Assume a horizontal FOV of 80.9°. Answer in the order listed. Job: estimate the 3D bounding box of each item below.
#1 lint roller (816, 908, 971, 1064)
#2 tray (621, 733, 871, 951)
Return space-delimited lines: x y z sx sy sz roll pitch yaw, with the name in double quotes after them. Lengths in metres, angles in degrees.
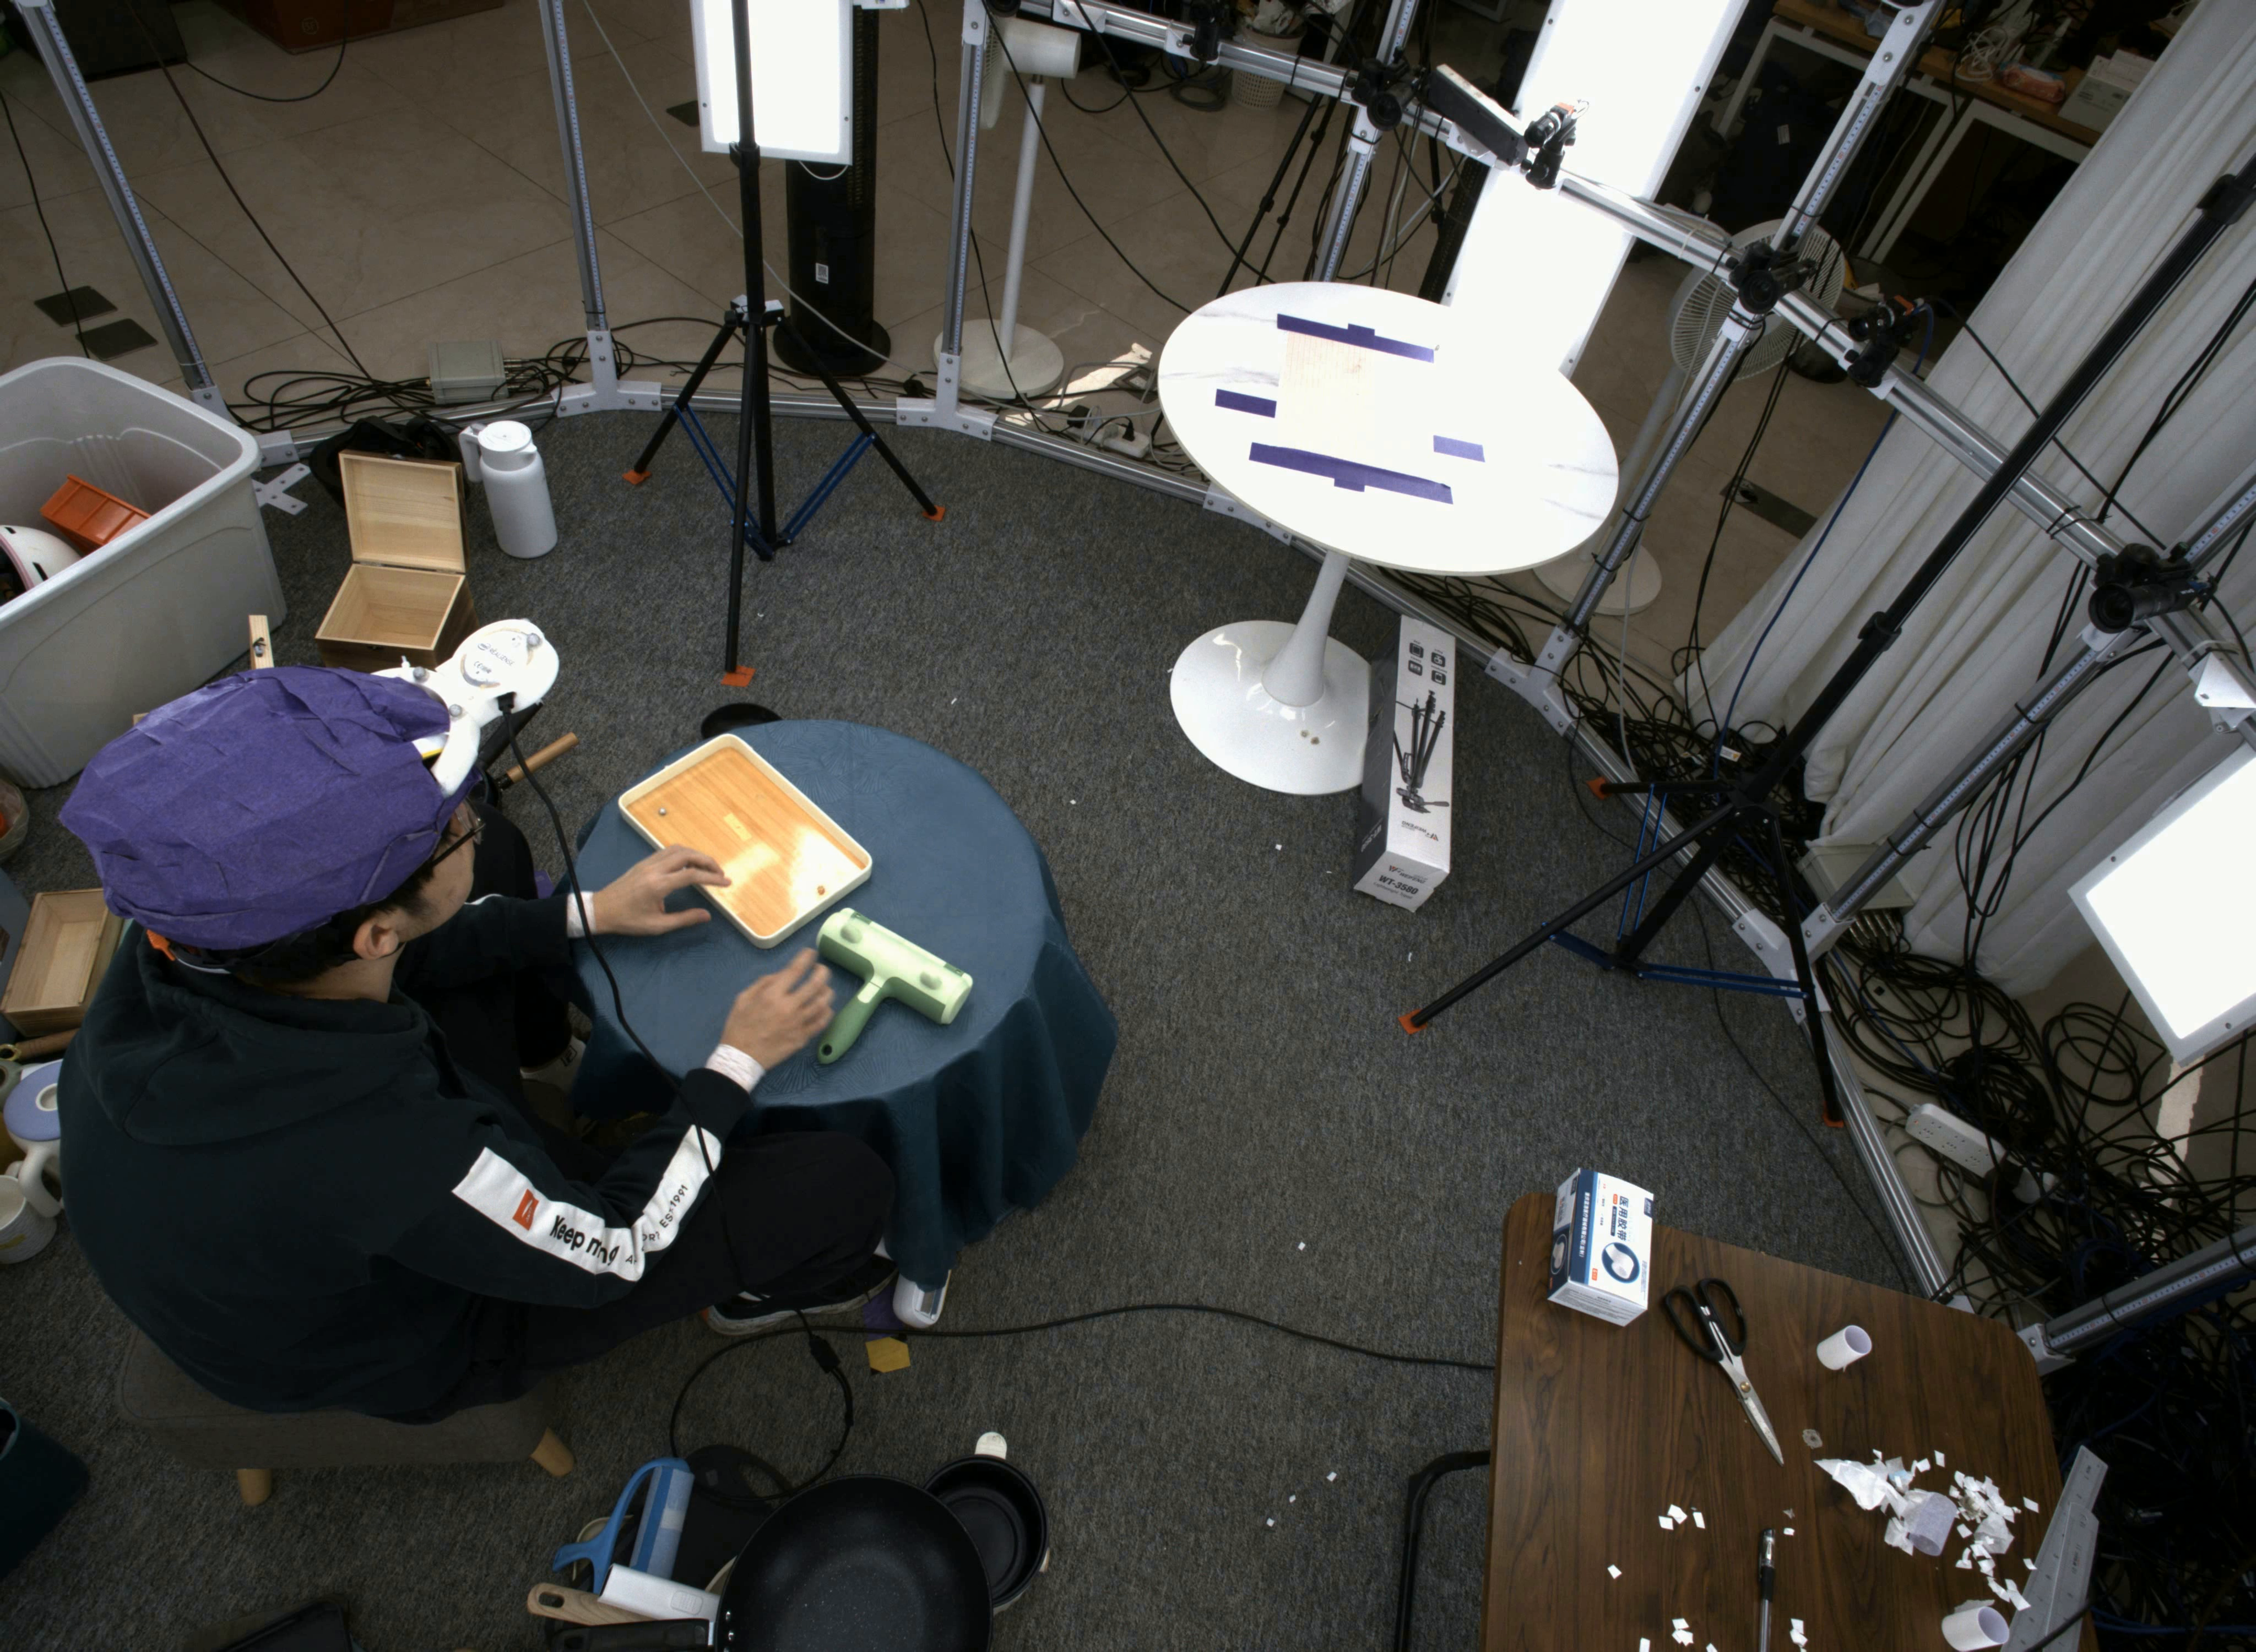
-0.315 0.200 1.562 0.195 0.084 0.182 29 48 8 "lint roller"
-0.498 0.013 1.683 0.294 0.028 0.192 39 55 15 "tray"
